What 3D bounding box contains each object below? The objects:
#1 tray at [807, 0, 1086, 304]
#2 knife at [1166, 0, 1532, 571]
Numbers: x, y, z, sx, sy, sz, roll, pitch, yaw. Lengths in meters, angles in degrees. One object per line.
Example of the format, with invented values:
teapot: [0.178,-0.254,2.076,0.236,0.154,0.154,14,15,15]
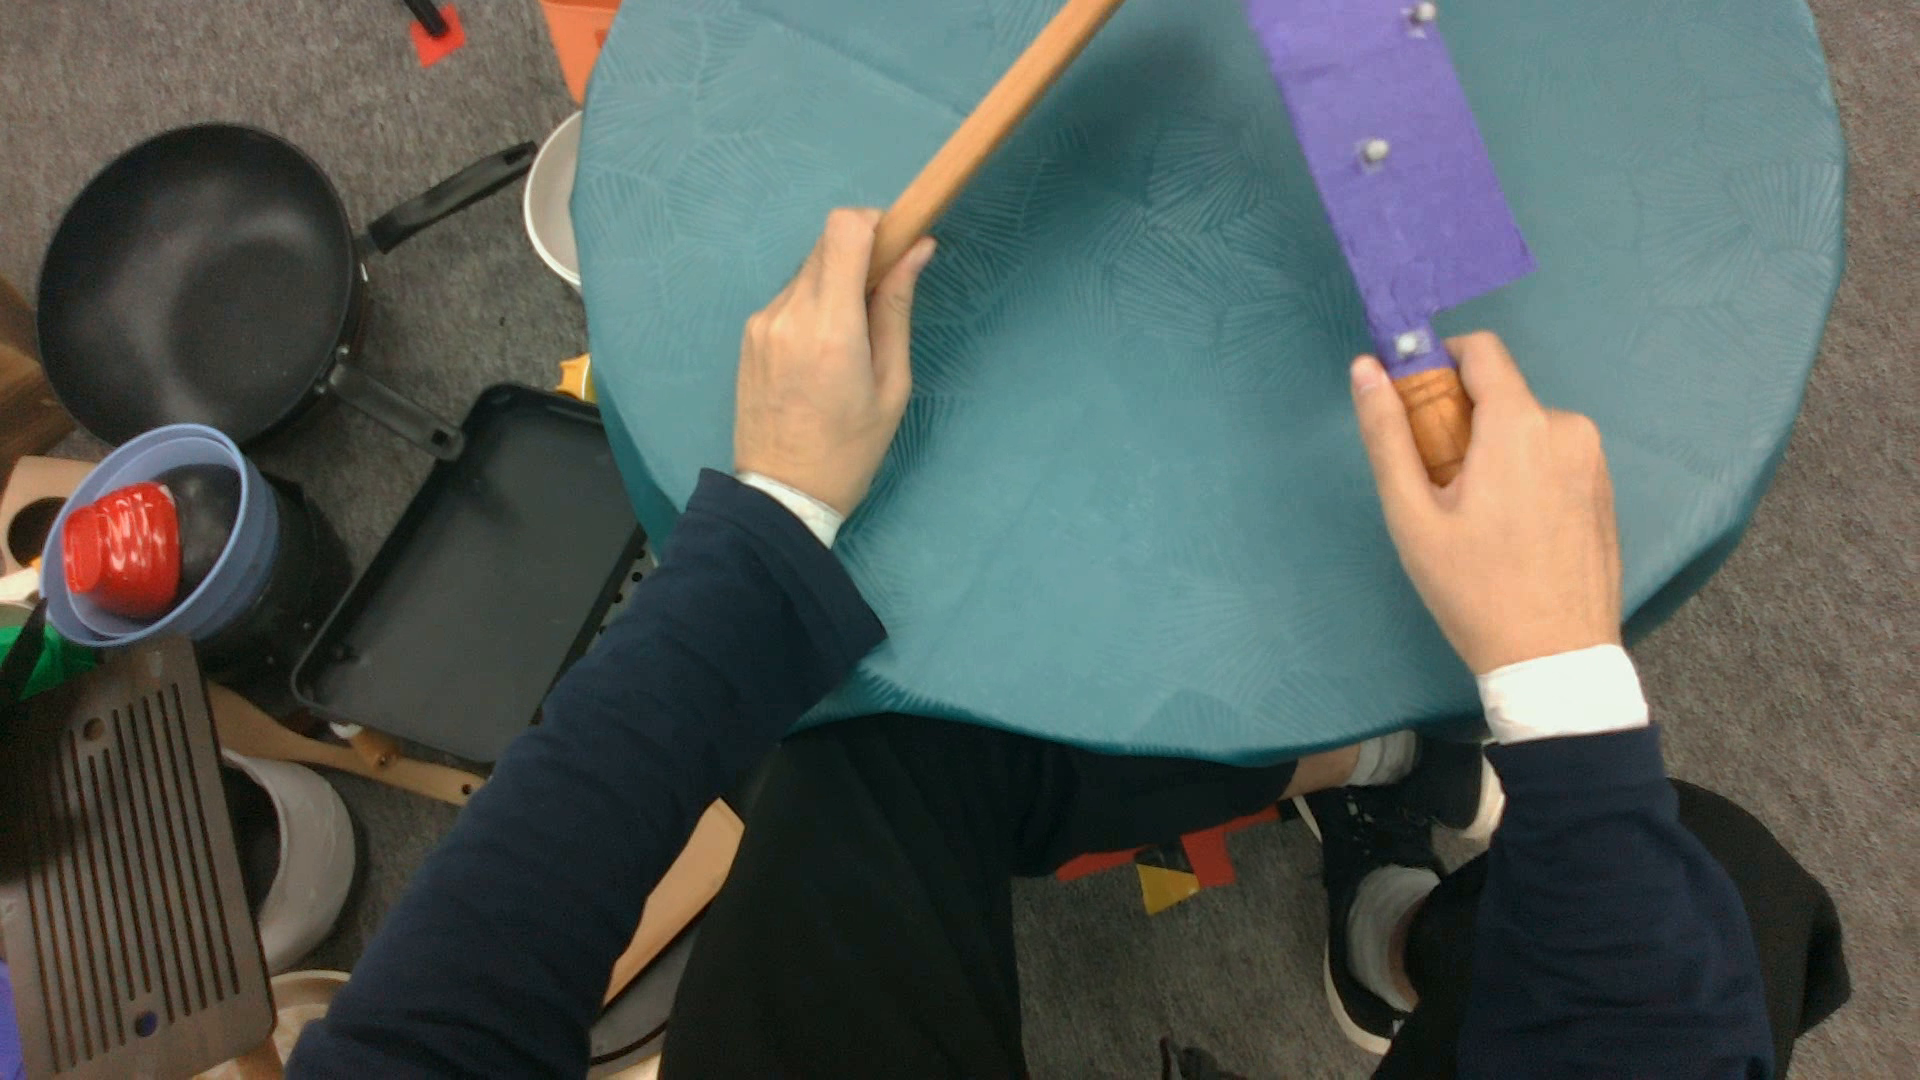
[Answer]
tray: [0.010,-0.196,0.607,0.020,0.101,0.231,38,89,-6]
knife: [0.158,-0.144,0.538,0.104,0.032,0.315,-31,95,-21]
